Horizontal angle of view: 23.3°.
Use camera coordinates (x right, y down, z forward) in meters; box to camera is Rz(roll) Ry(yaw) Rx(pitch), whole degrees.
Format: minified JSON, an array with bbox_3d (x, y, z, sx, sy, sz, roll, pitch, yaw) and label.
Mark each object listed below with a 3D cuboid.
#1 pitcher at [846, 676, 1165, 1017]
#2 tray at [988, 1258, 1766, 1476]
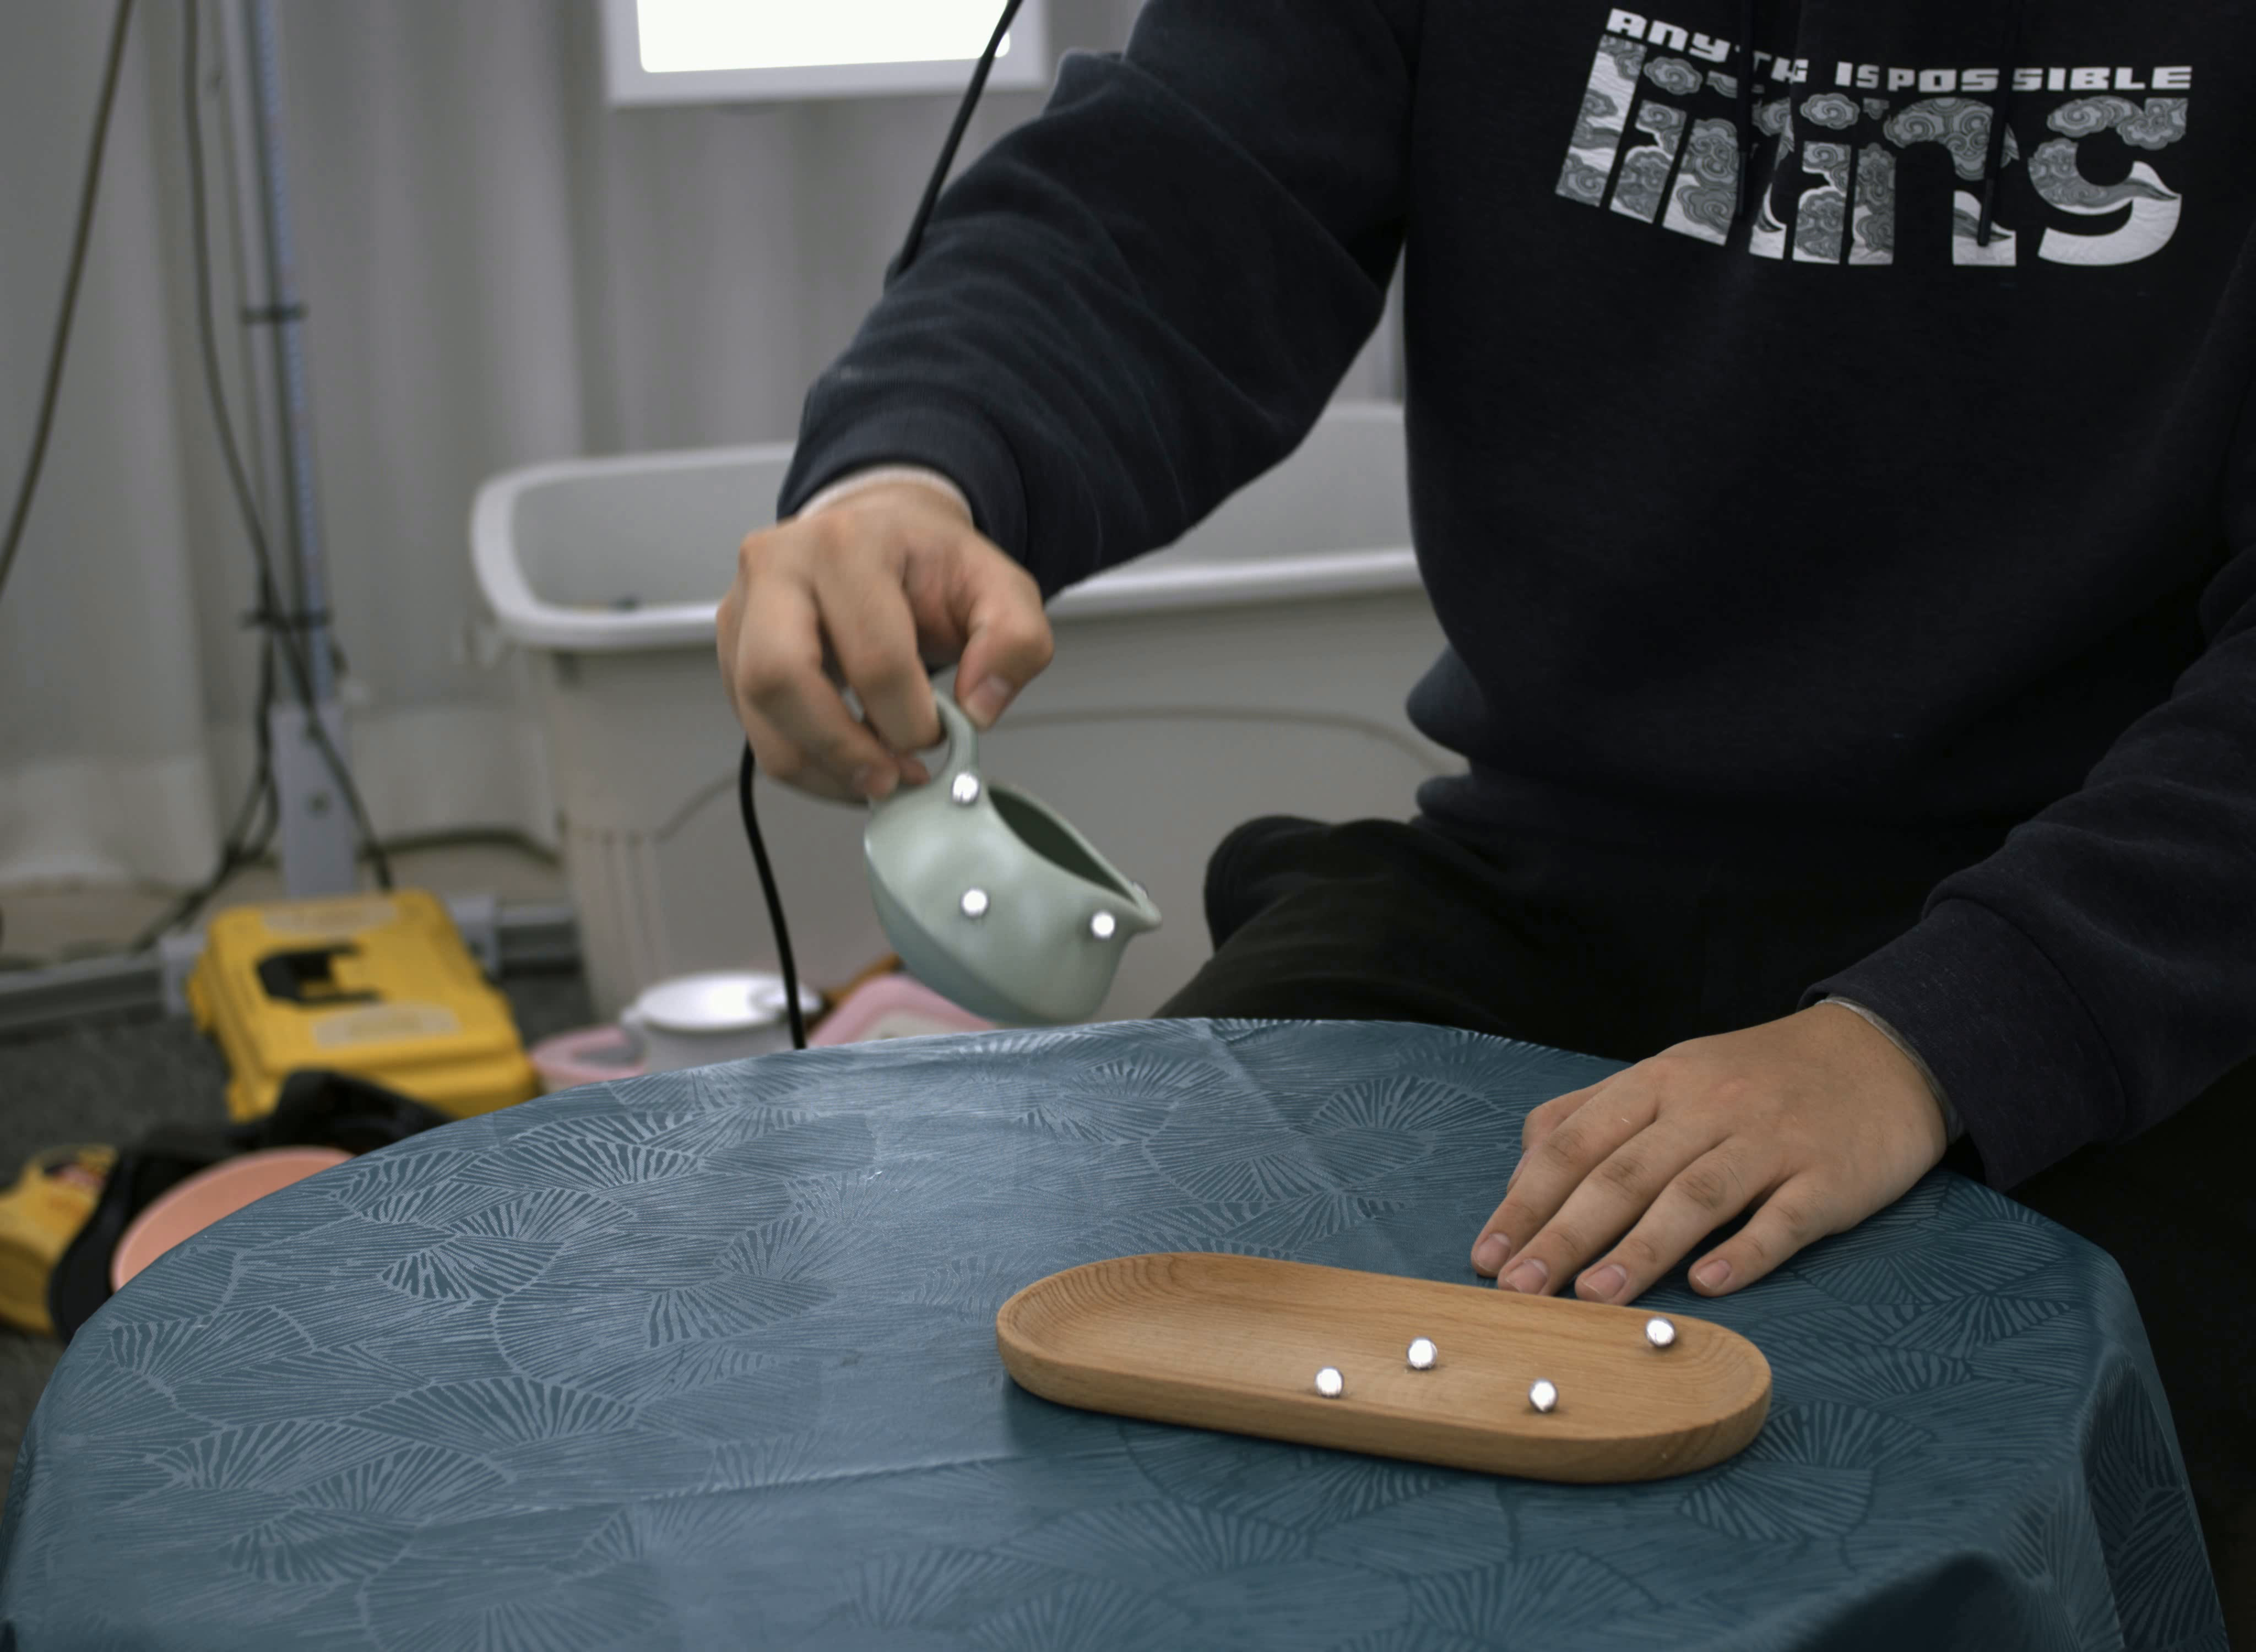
[{"bbox_3d":[-0.044,0.008,1.573,0.108,0.060,0.086,44,15,10],"label":"pitcher"},{"bbox_3d":[0.068,0.152,1.537,0.231,0.020,0.102,3,14,28],"label":"tray"}]
